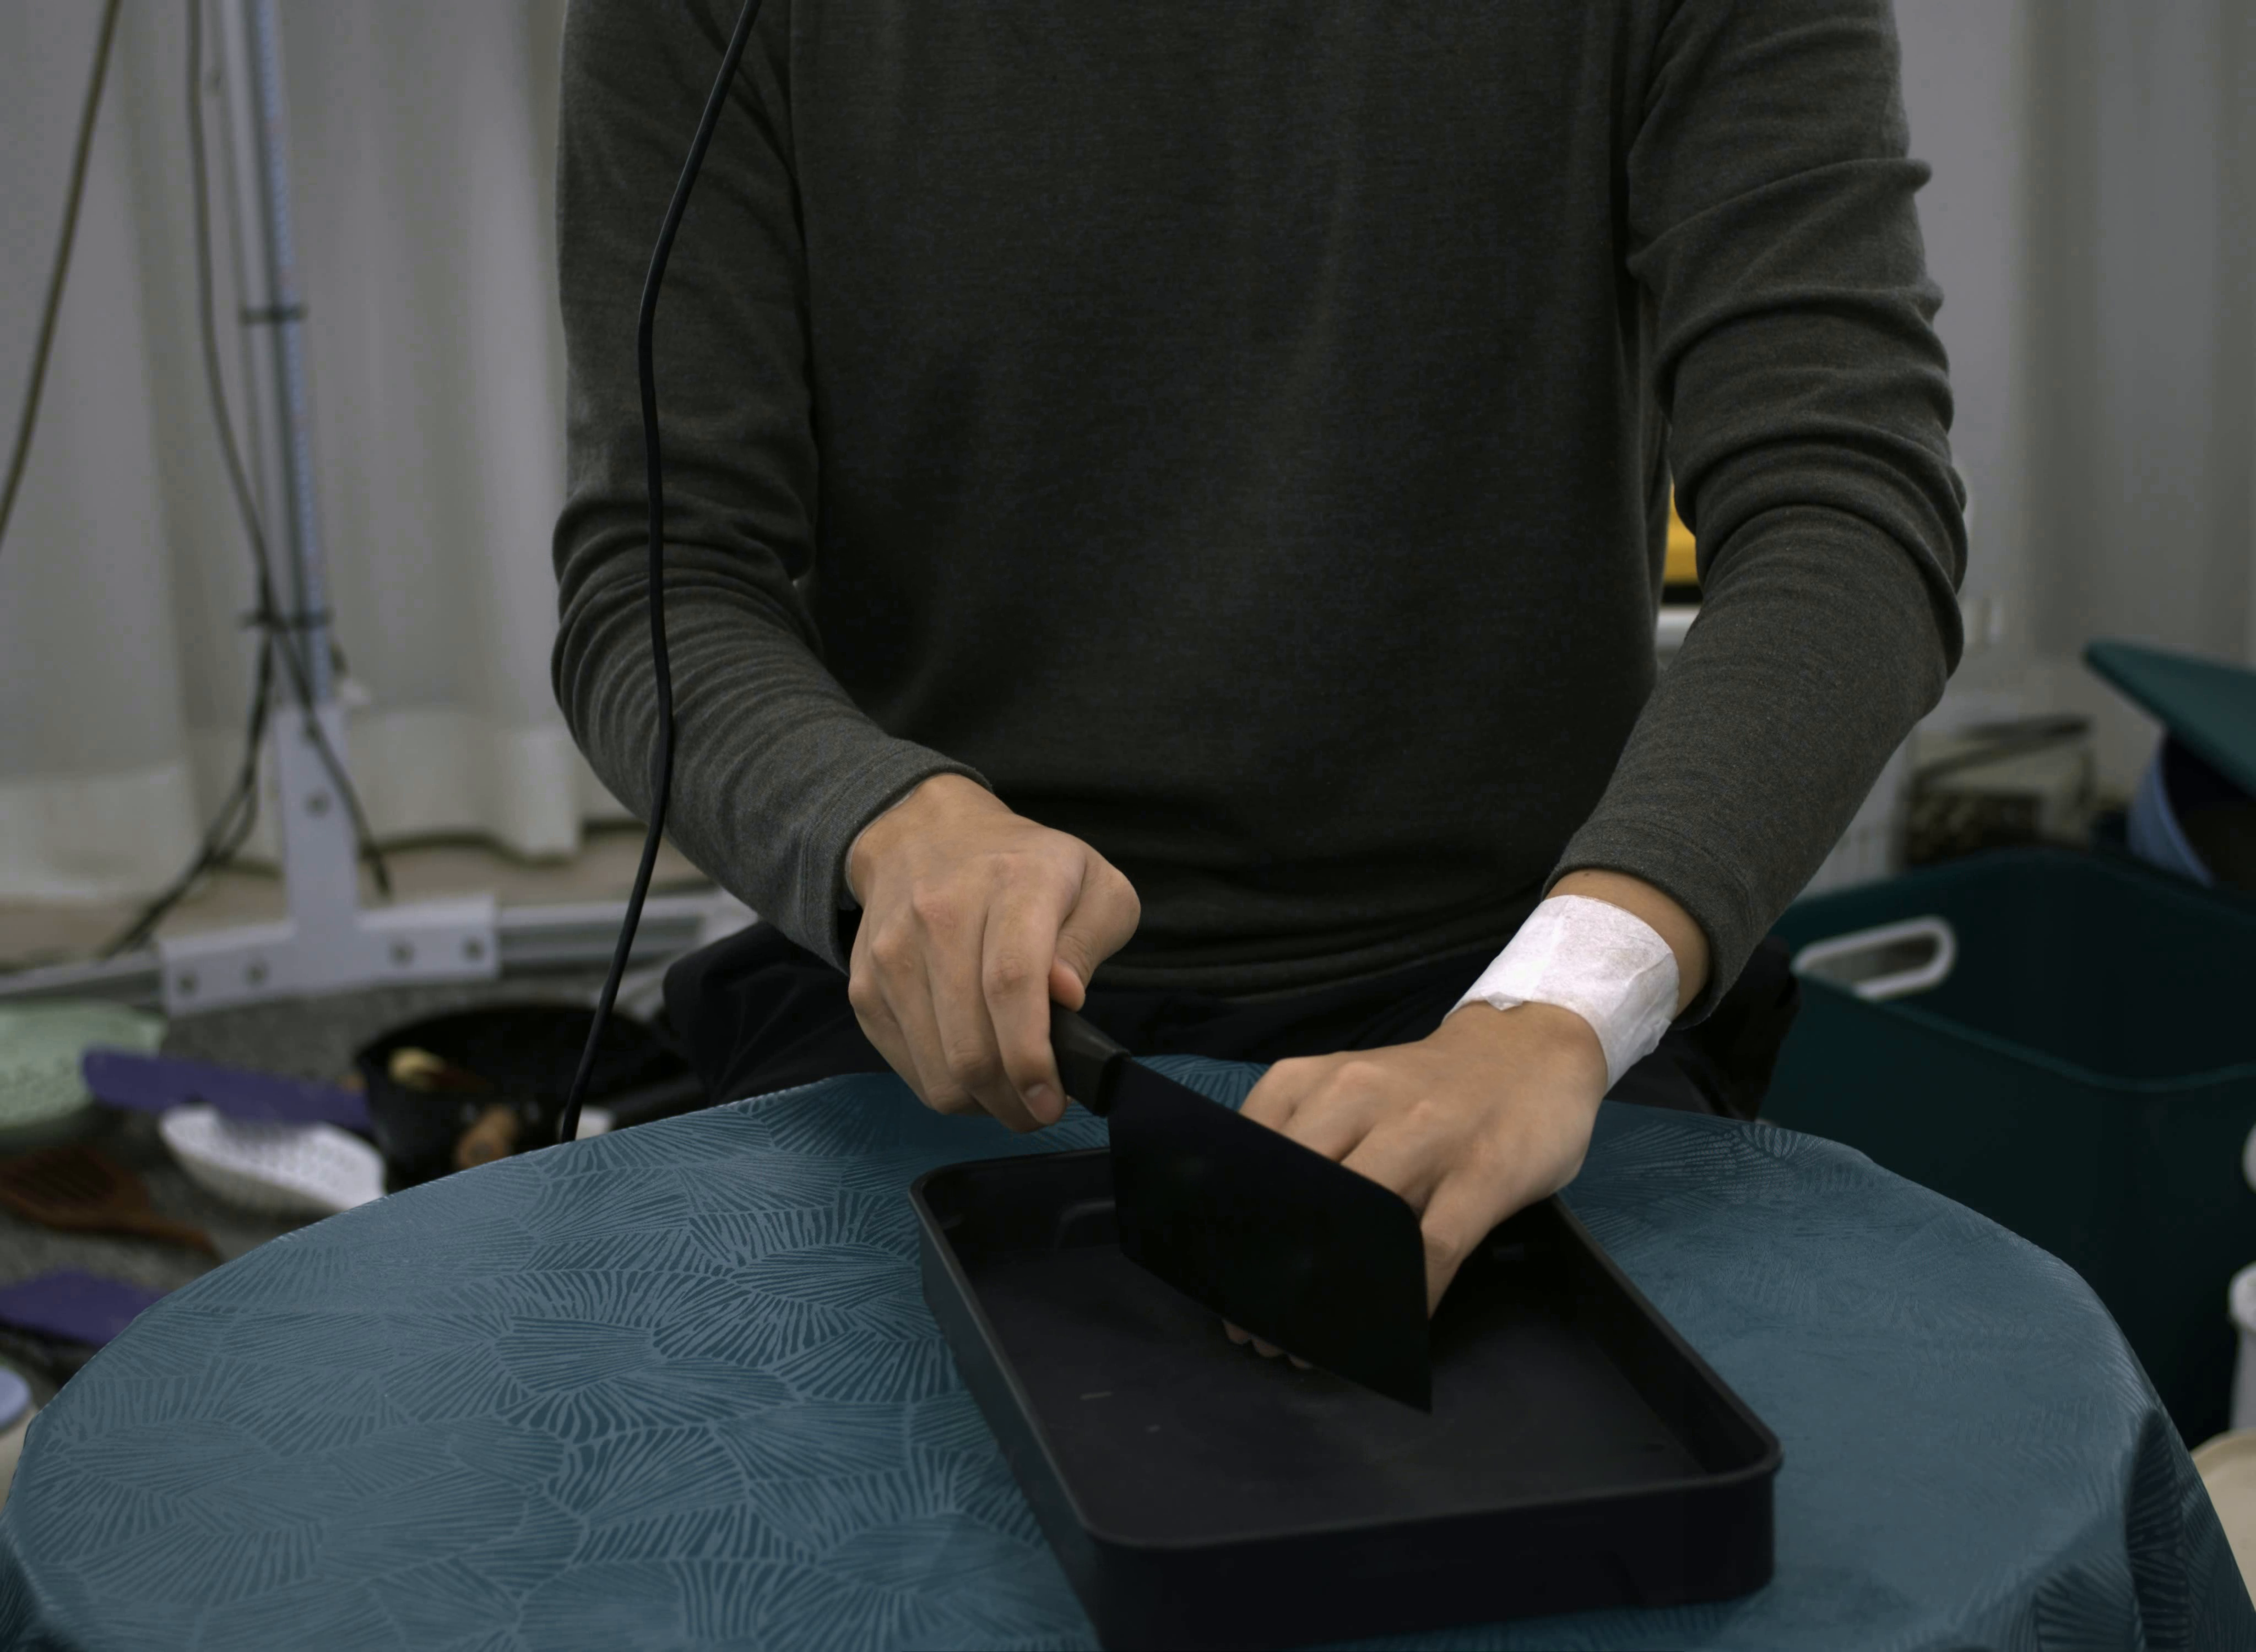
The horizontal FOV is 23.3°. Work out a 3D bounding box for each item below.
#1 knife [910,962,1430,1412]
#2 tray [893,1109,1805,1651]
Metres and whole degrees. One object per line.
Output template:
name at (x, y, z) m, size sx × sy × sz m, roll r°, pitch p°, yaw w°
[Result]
knife at (0.009, 0.097, 1.577) m, size 0.021 × 0.080 × 0.305 m, roll -10°, pitch 20°, yaw -26°
tray at (0.052, 0.149, 1.506) m, size 0.183 × 0.037 × 0.320 m, roll -6°, pitch 15°, yaw -12°
